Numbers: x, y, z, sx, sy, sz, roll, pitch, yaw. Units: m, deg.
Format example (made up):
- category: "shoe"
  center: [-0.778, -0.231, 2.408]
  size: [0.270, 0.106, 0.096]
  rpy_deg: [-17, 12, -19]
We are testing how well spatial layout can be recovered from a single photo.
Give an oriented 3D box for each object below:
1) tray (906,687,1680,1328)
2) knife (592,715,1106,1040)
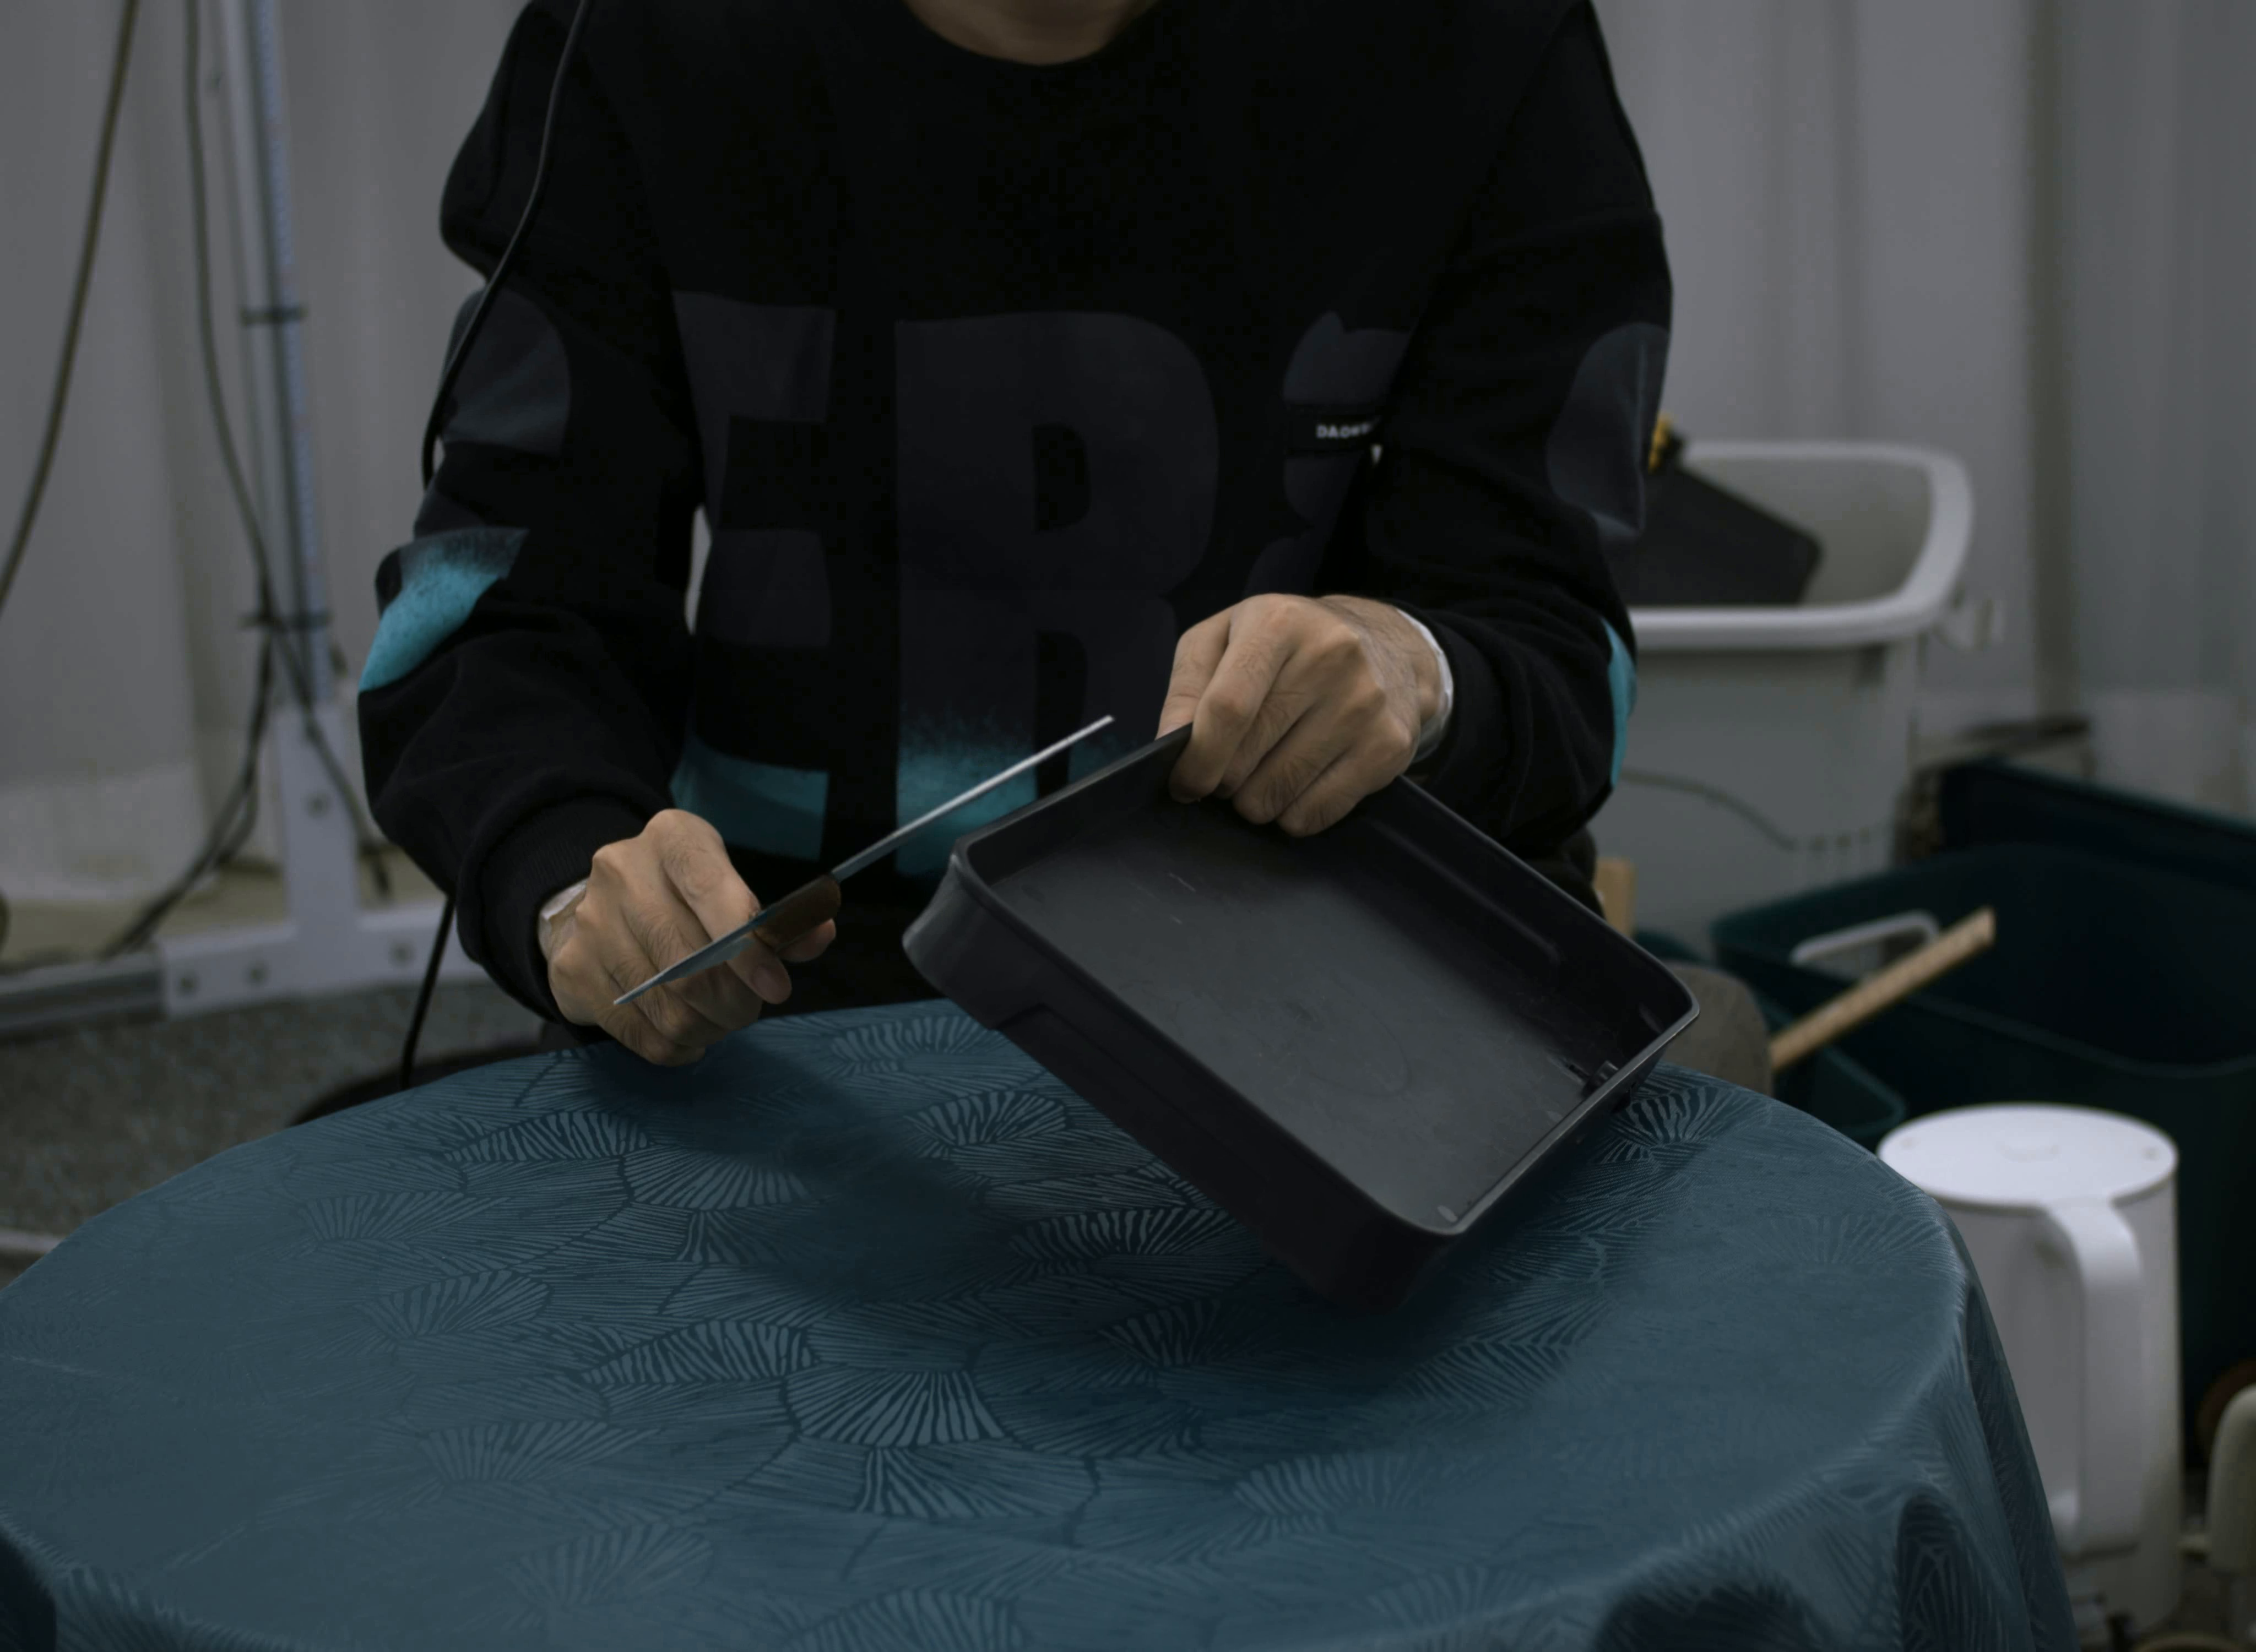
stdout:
- category: "tray"
  center: [0.057, 0.048, 1.664]
  size: [0.185, 0.037, 0.318]
  rpy_deg: [37, 19, 8]
- category: "knife"
  center: [-0.110, 0.027, 1.714]
  size: [0.093, 0.021, 0.304]
  rpy_deg: [-30, 0, -35]
